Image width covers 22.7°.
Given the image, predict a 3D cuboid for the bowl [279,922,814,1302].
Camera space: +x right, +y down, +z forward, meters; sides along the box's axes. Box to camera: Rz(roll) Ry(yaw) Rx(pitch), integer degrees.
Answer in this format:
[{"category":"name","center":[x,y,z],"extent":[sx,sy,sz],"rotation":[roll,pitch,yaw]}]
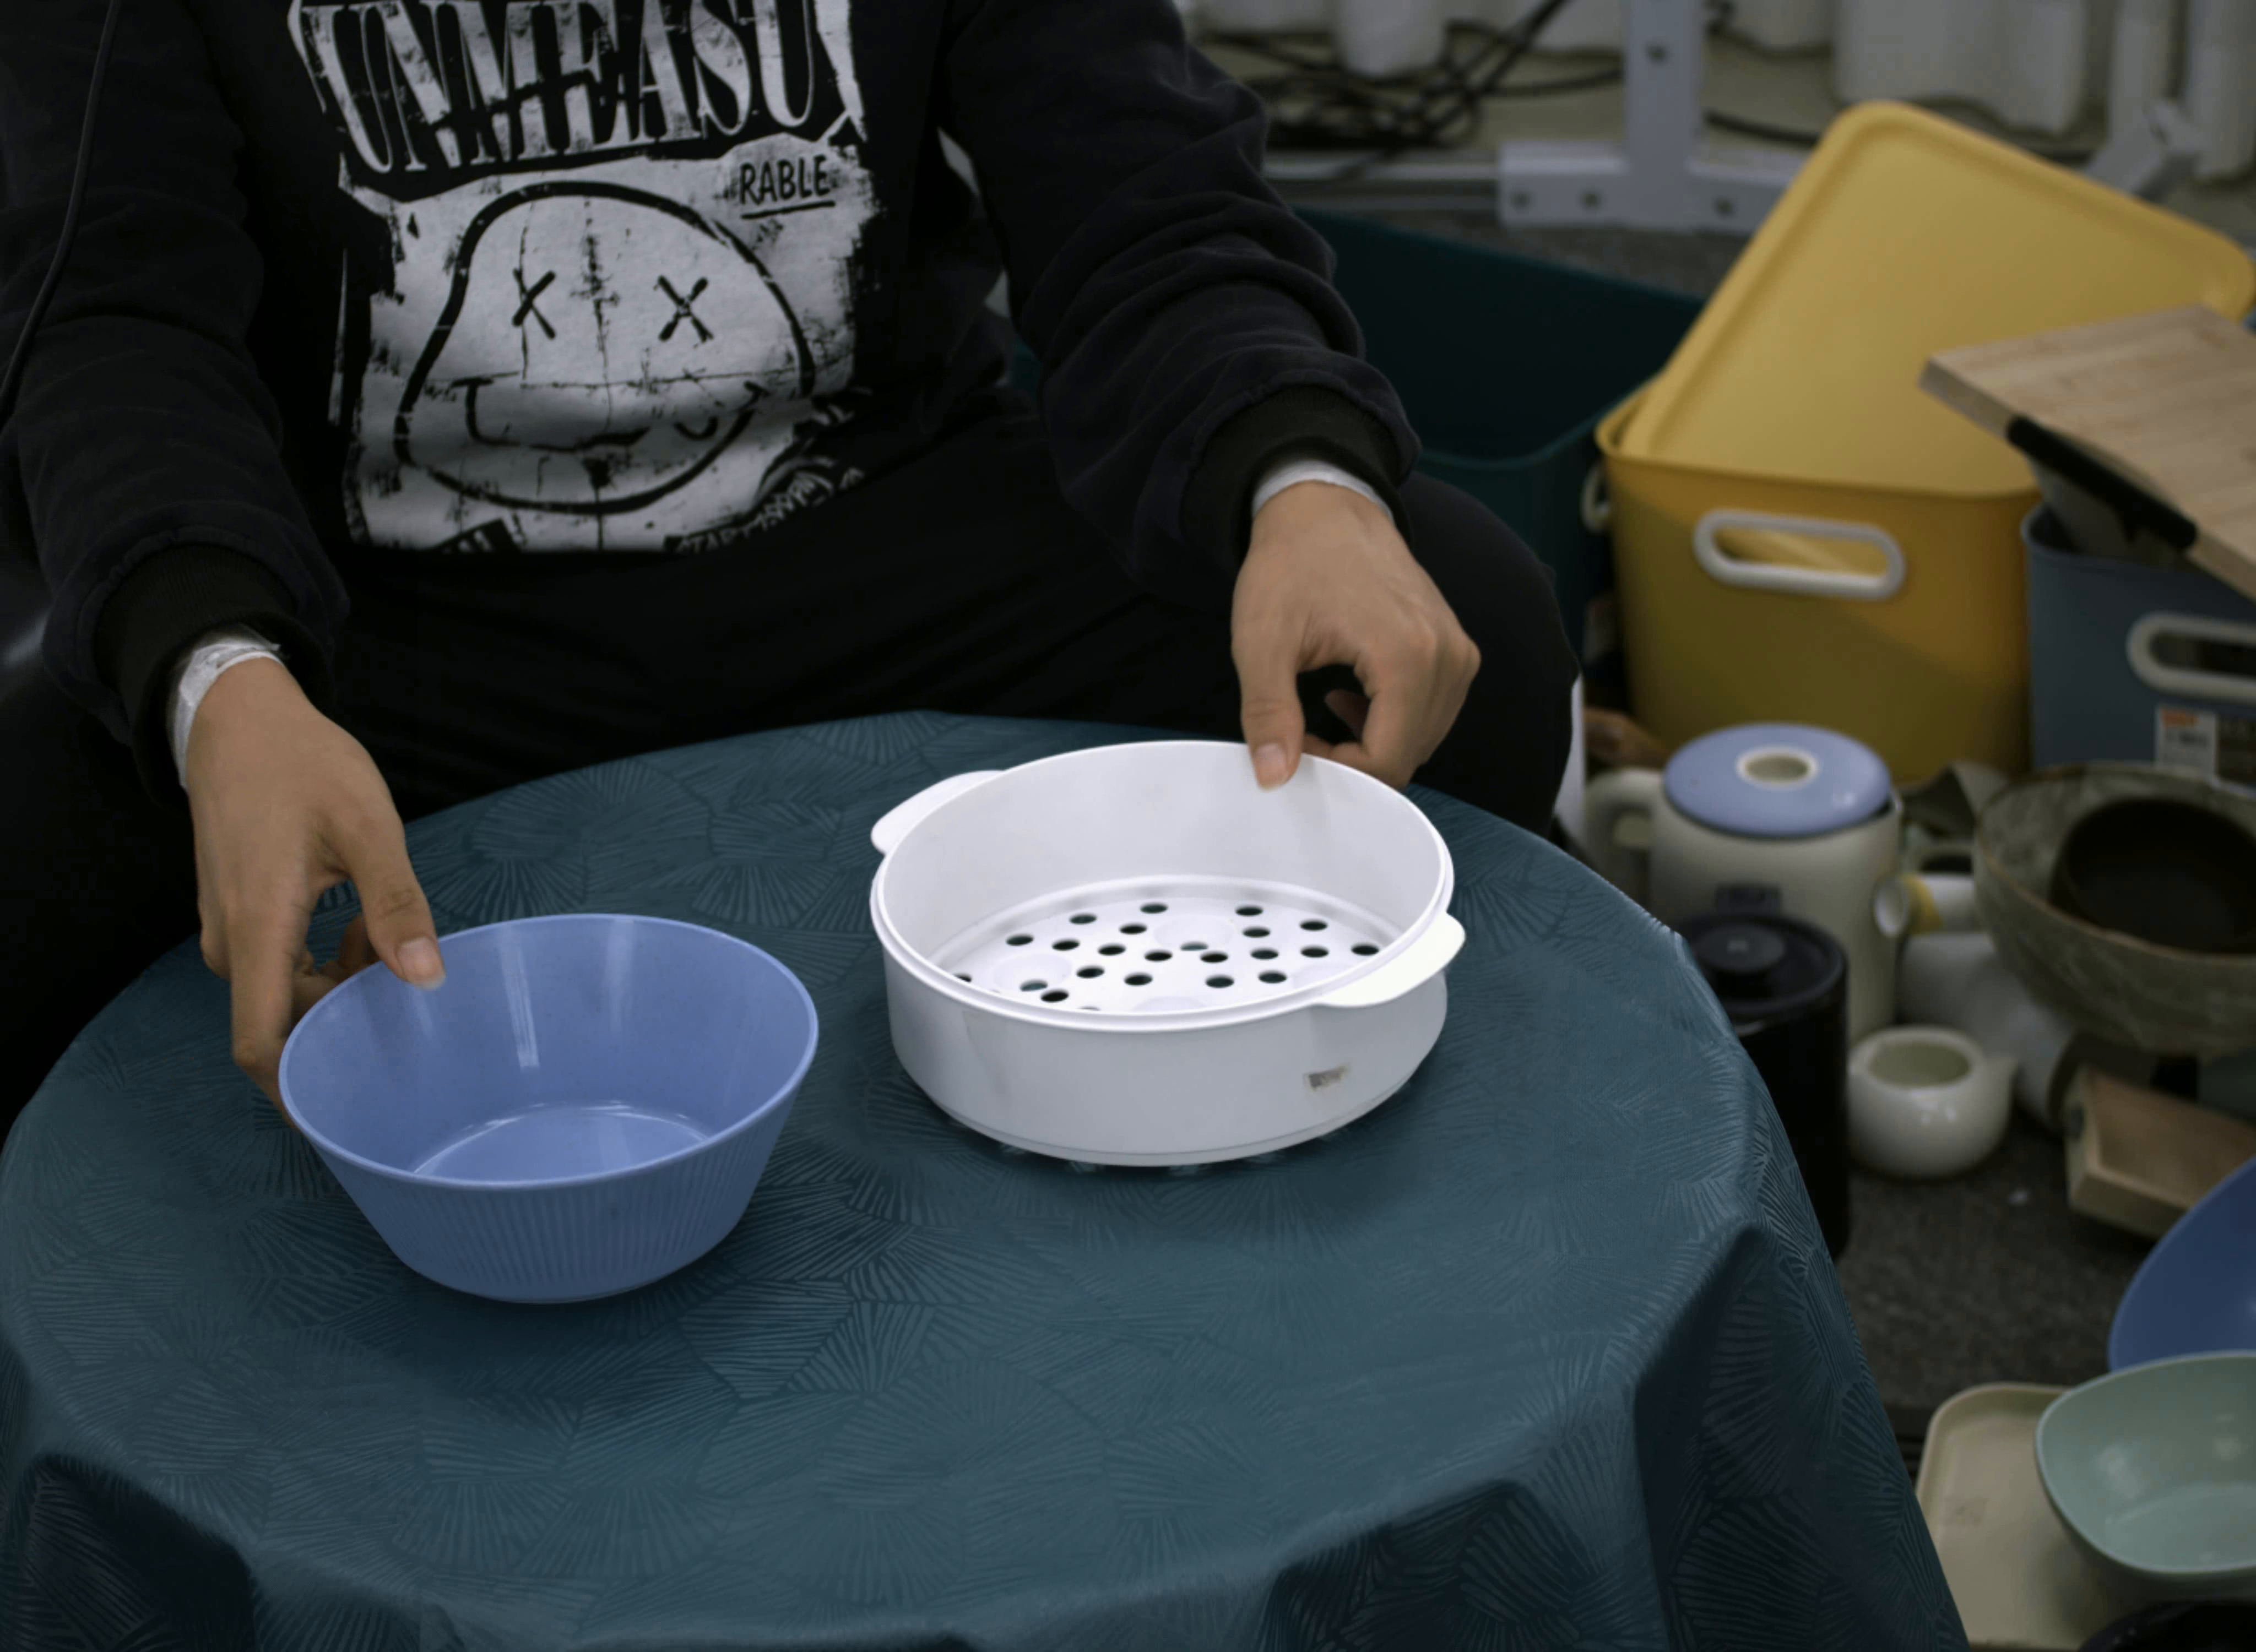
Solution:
[{"category":"bowl","center":[-0.188,0.100,1.845],"extent":[0.175,0.069,0.178],"rotation":[-2,26,1]}]

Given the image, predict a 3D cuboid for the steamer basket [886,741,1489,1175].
[{"category":"steamer basket","center":[0.019,0.046,1.932],"extent":[0.230,0.068,0.205],"rotation":[20,35,33]}]
